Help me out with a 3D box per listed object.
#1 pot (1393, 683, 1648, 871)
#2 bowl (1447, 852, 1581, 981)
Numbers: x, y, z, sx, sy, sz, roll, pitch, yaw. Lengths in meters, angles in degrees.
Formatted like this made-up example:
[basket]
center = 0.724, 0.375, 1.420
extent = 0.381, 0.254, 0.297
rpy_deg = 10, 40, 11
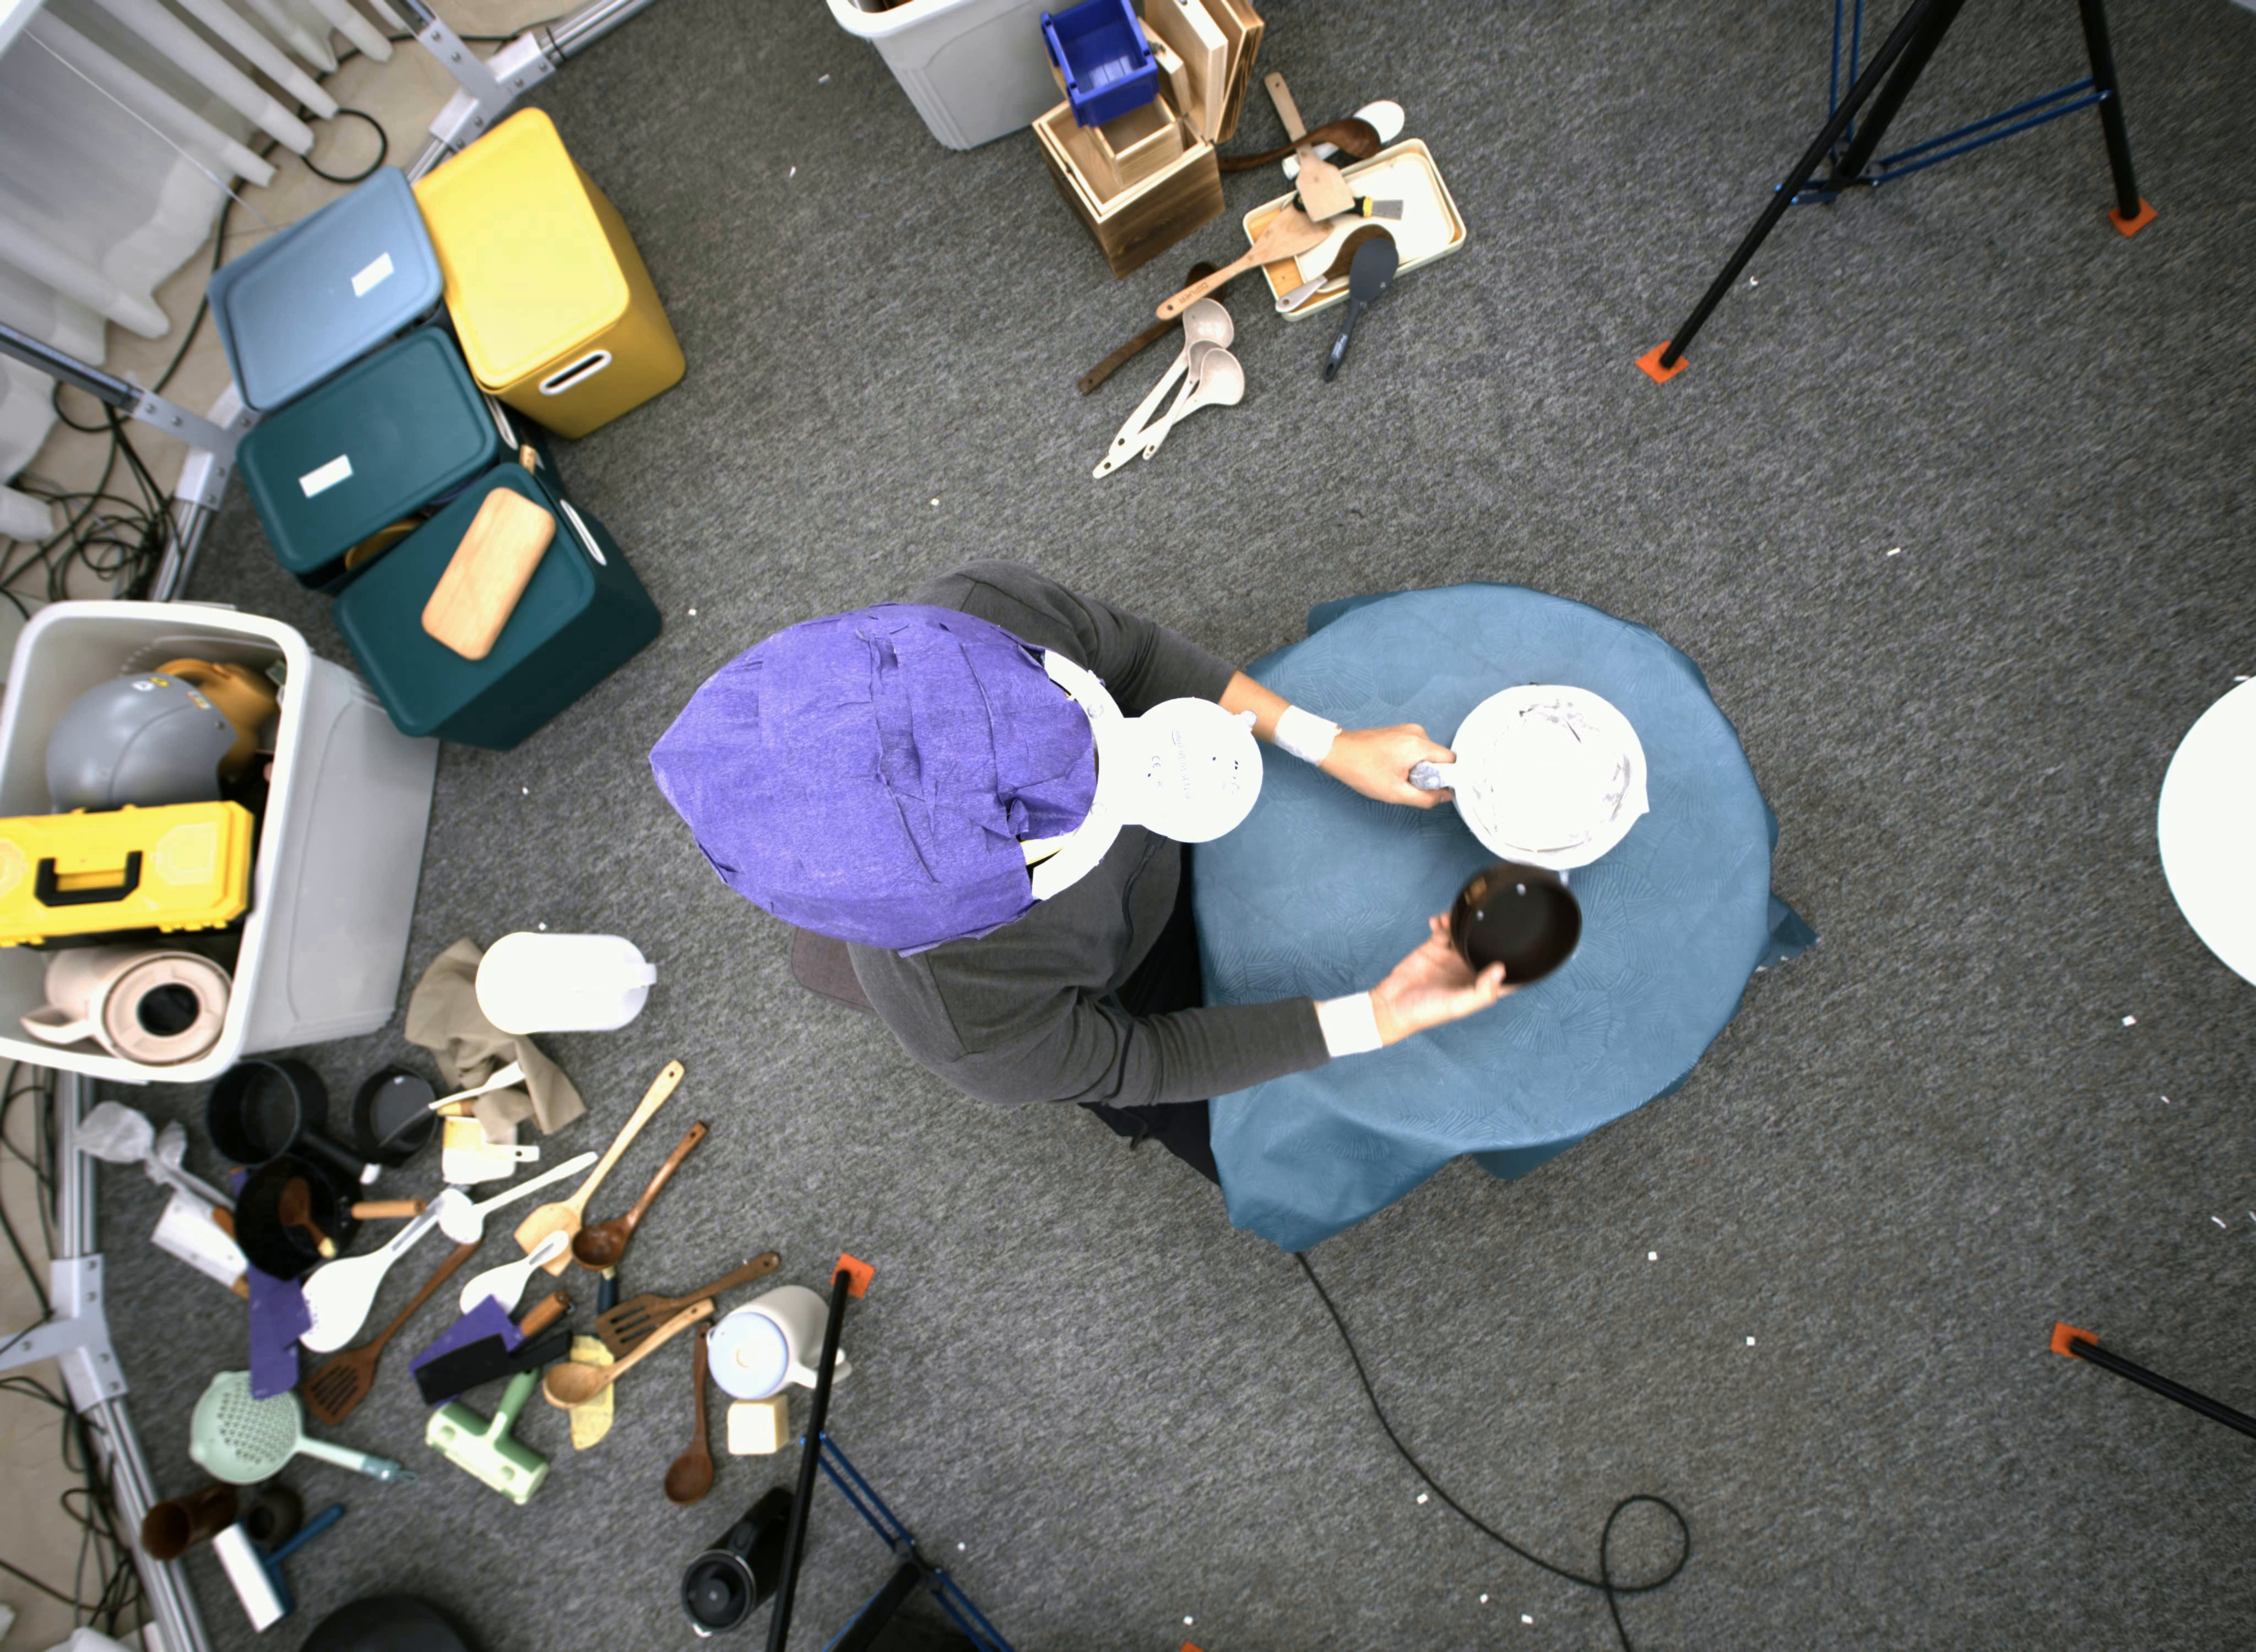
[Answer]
[pot]
center = 0.383, -0.054, 1.363
extent = 0.234, 0.135, 0.180
rpy_deg = 0, 98, 9
[bowl]
center = 0.351, 0.075, 1.273
extent = 0.118, 0.068, 0.120
rpy_deg = -3, 117, -6
